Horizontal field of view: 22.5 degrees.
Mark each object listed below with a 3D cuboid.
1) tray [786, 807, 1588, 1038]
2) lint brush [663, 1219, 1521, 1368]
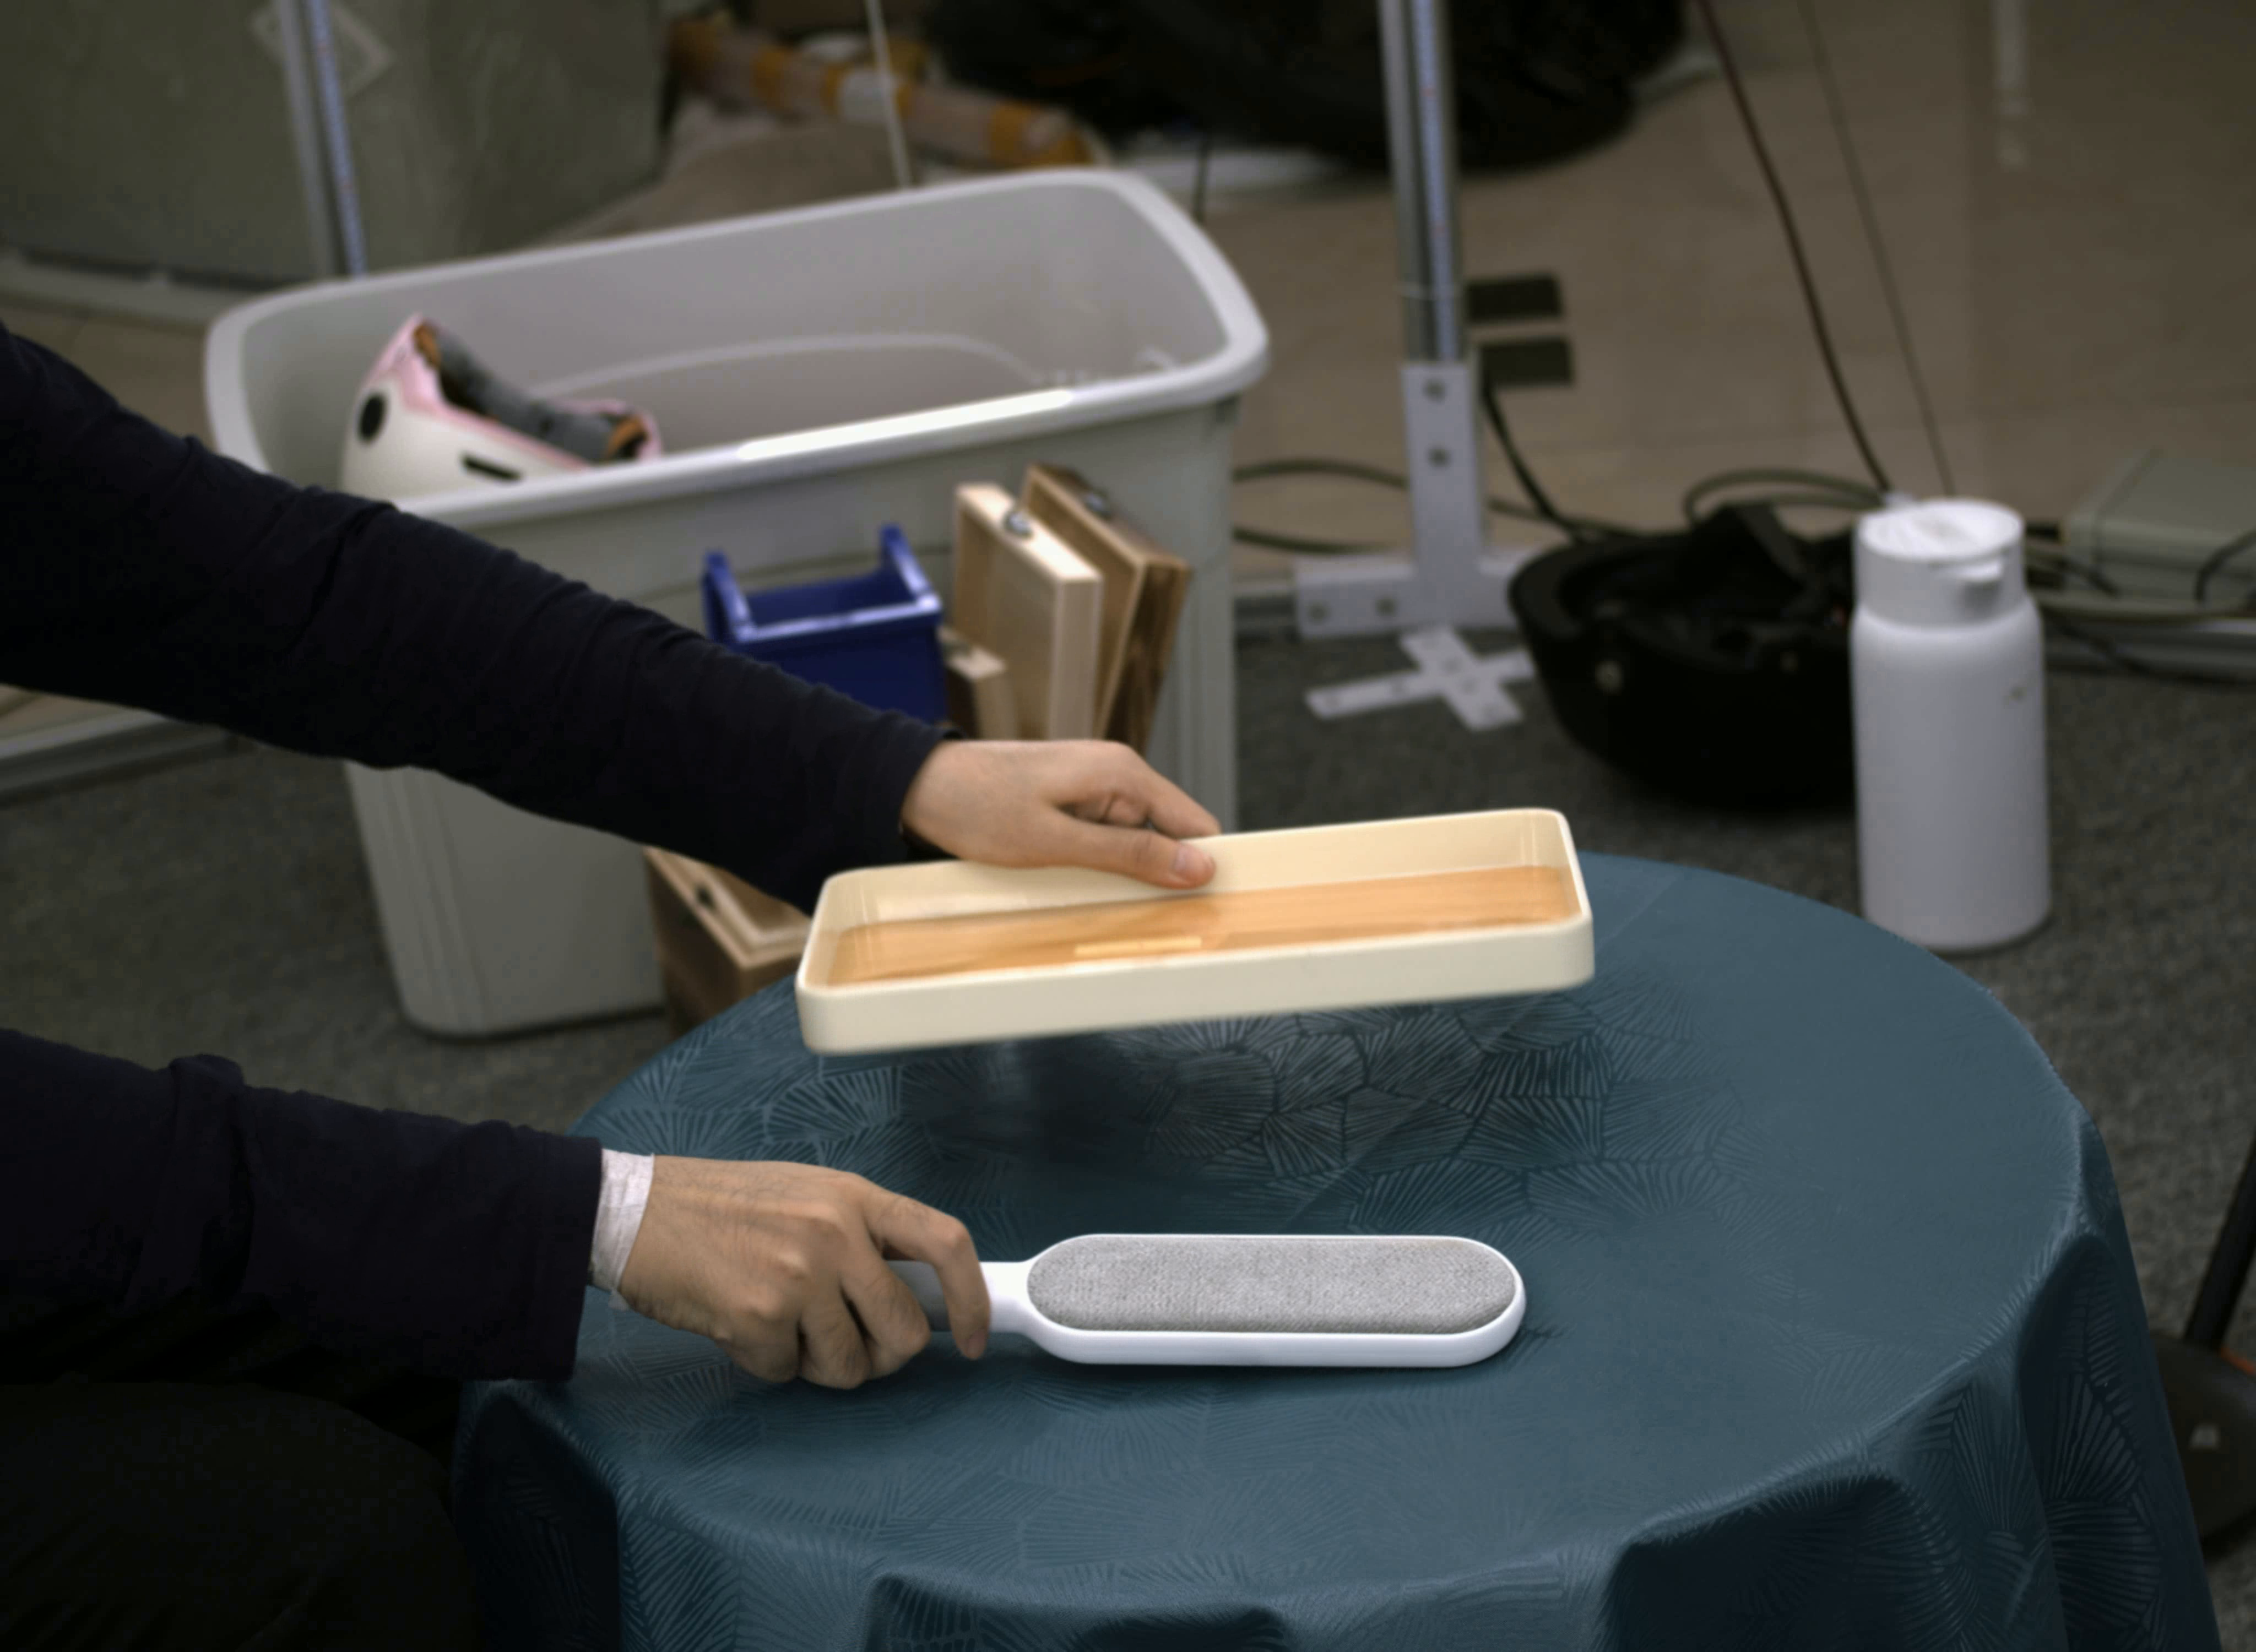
[{"bbox_3d":[0.024,0.036,2.187,0.300,0.027,0.190,-5,11,3],"label":"tray"},{"bbox_3d":[-0.014,0.166,2.032,0.308,0.021,0.059,0,46,5],"label":"lint brush"}]
